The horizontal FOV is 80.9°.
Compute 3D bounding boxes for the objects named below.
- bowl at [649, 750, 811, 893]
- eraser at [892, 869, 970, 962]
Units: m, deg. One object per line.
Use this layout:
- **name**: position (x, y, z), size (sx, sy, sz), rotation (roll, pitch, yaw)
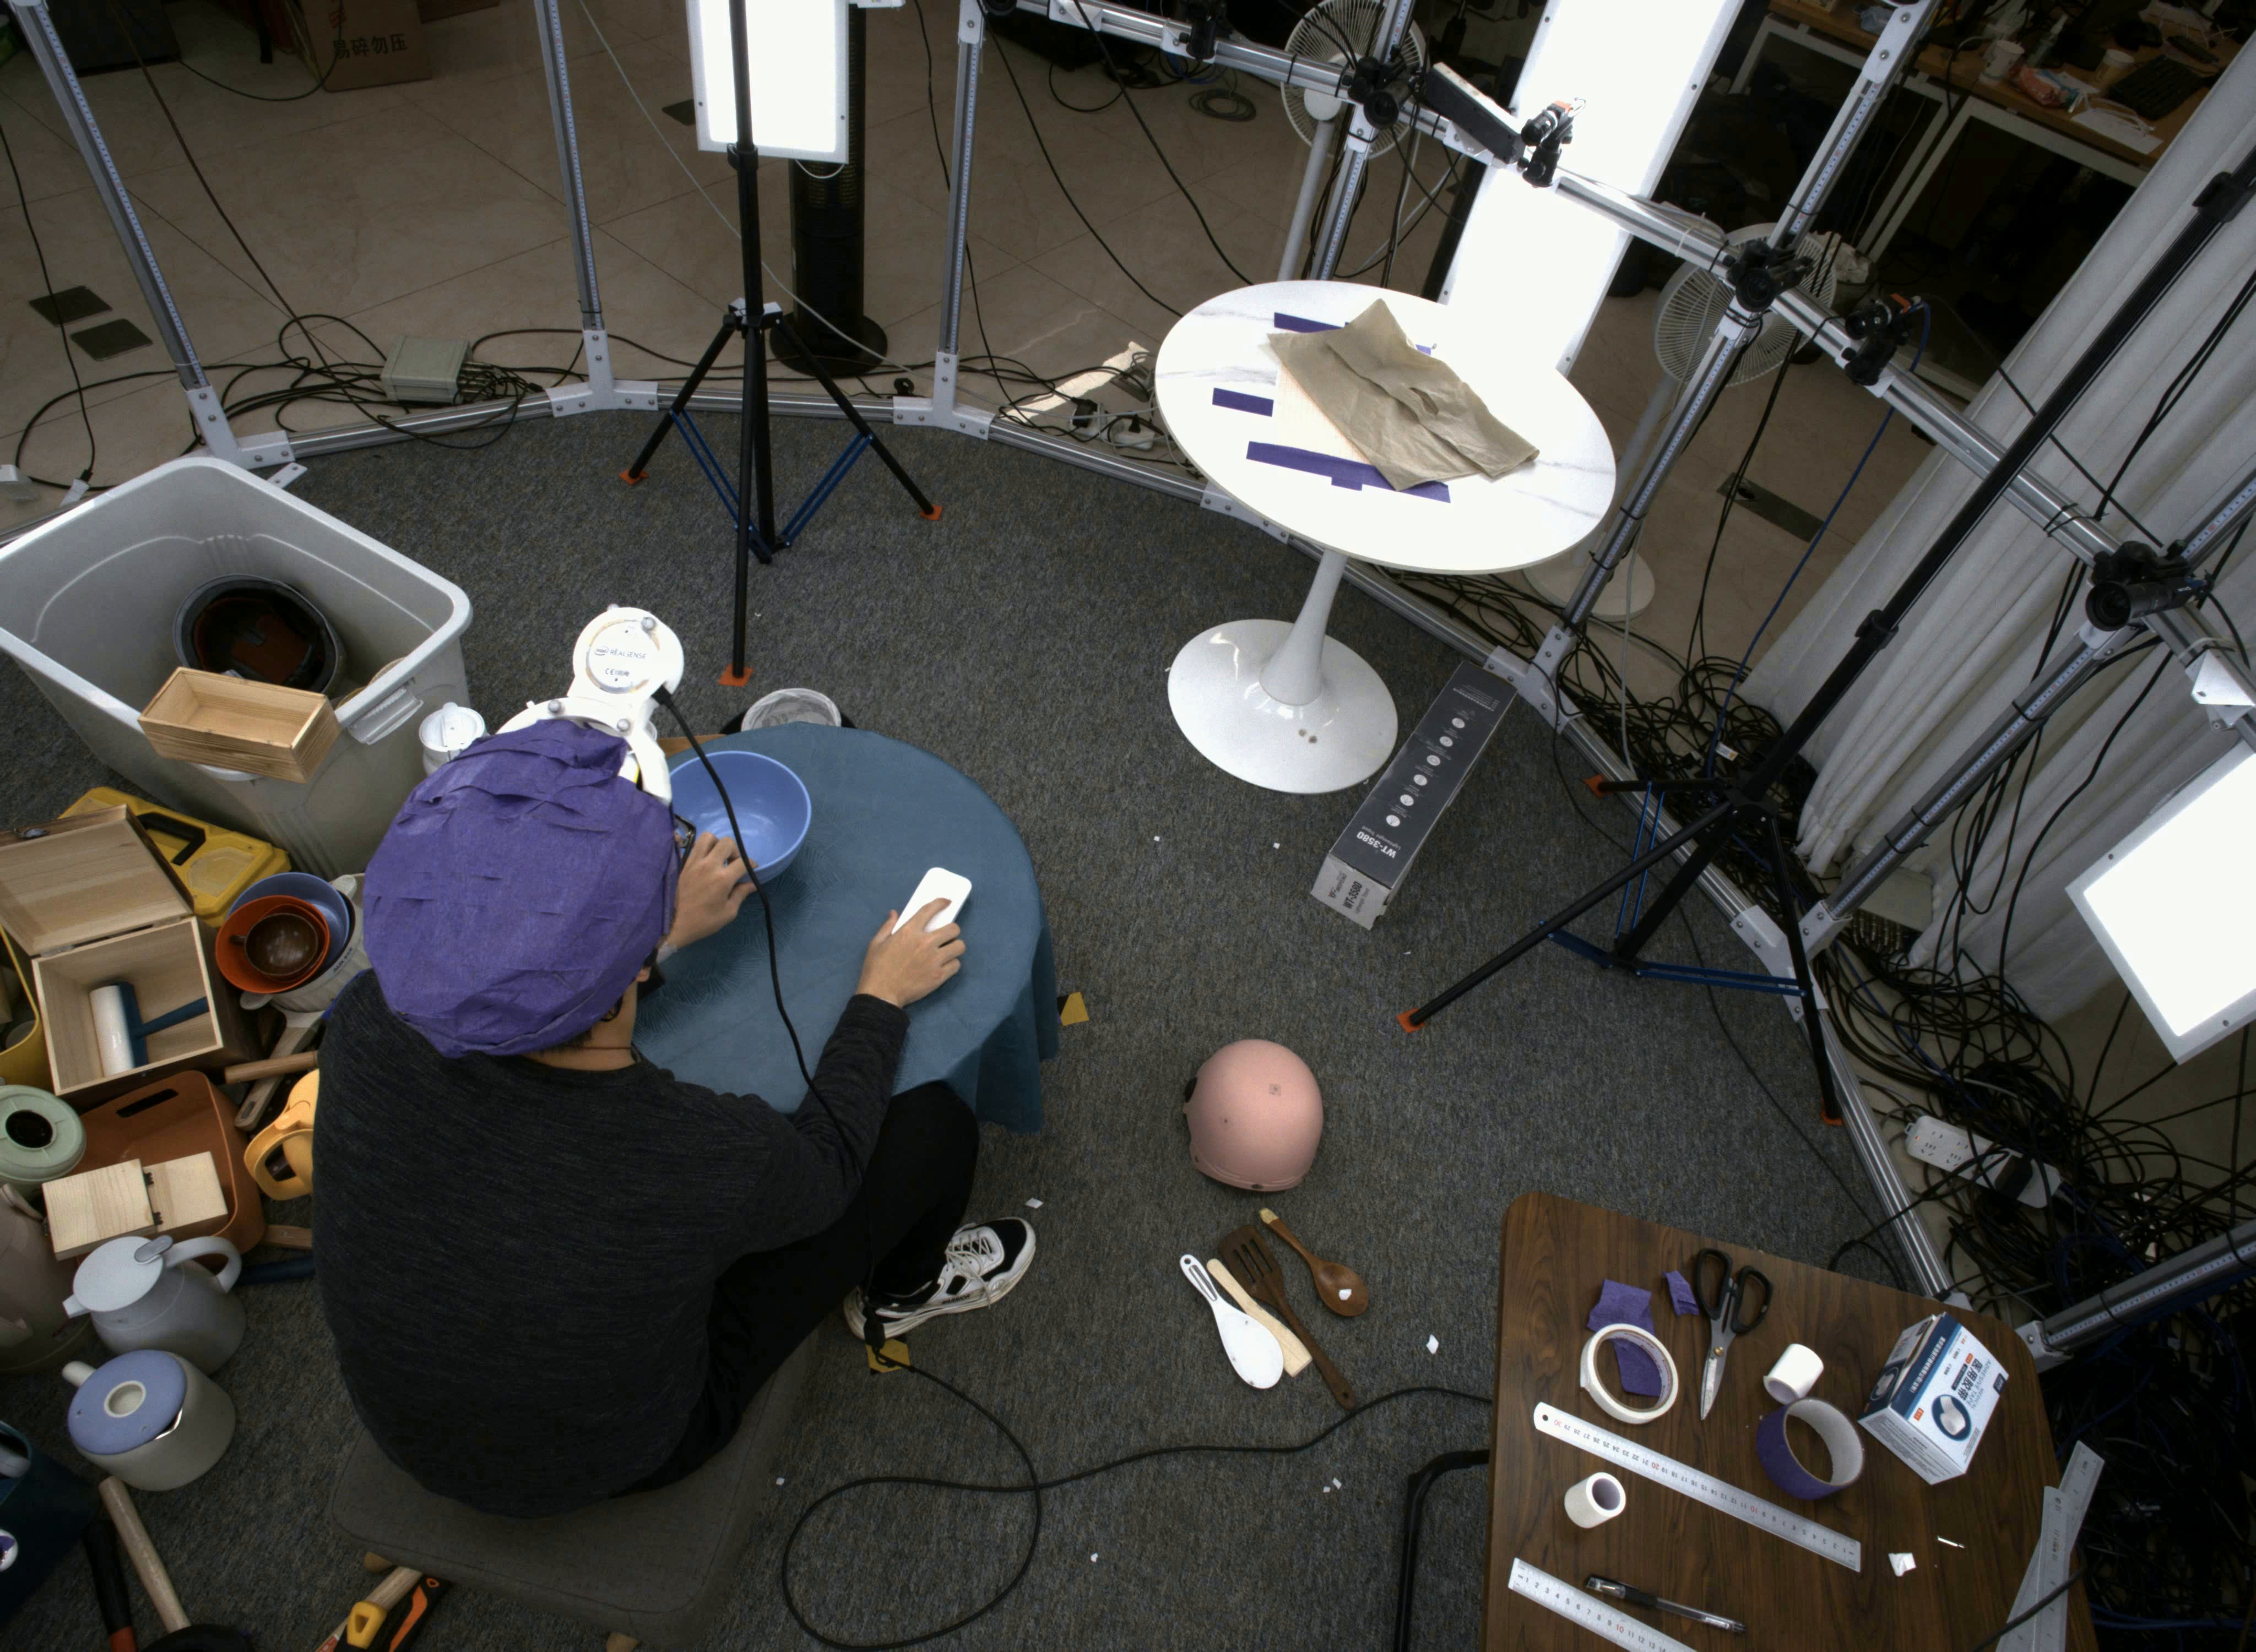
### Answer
- **bowl**: position (-0.500, 0.009, 1.633), size (0.196, 0.097, 0.193), rotation (8, 52, -9)
- **eraser**: position (-0.252, 0.110, 1.662), size (0.062, 0.035, 0.130), rotation (22, 50, 4)
